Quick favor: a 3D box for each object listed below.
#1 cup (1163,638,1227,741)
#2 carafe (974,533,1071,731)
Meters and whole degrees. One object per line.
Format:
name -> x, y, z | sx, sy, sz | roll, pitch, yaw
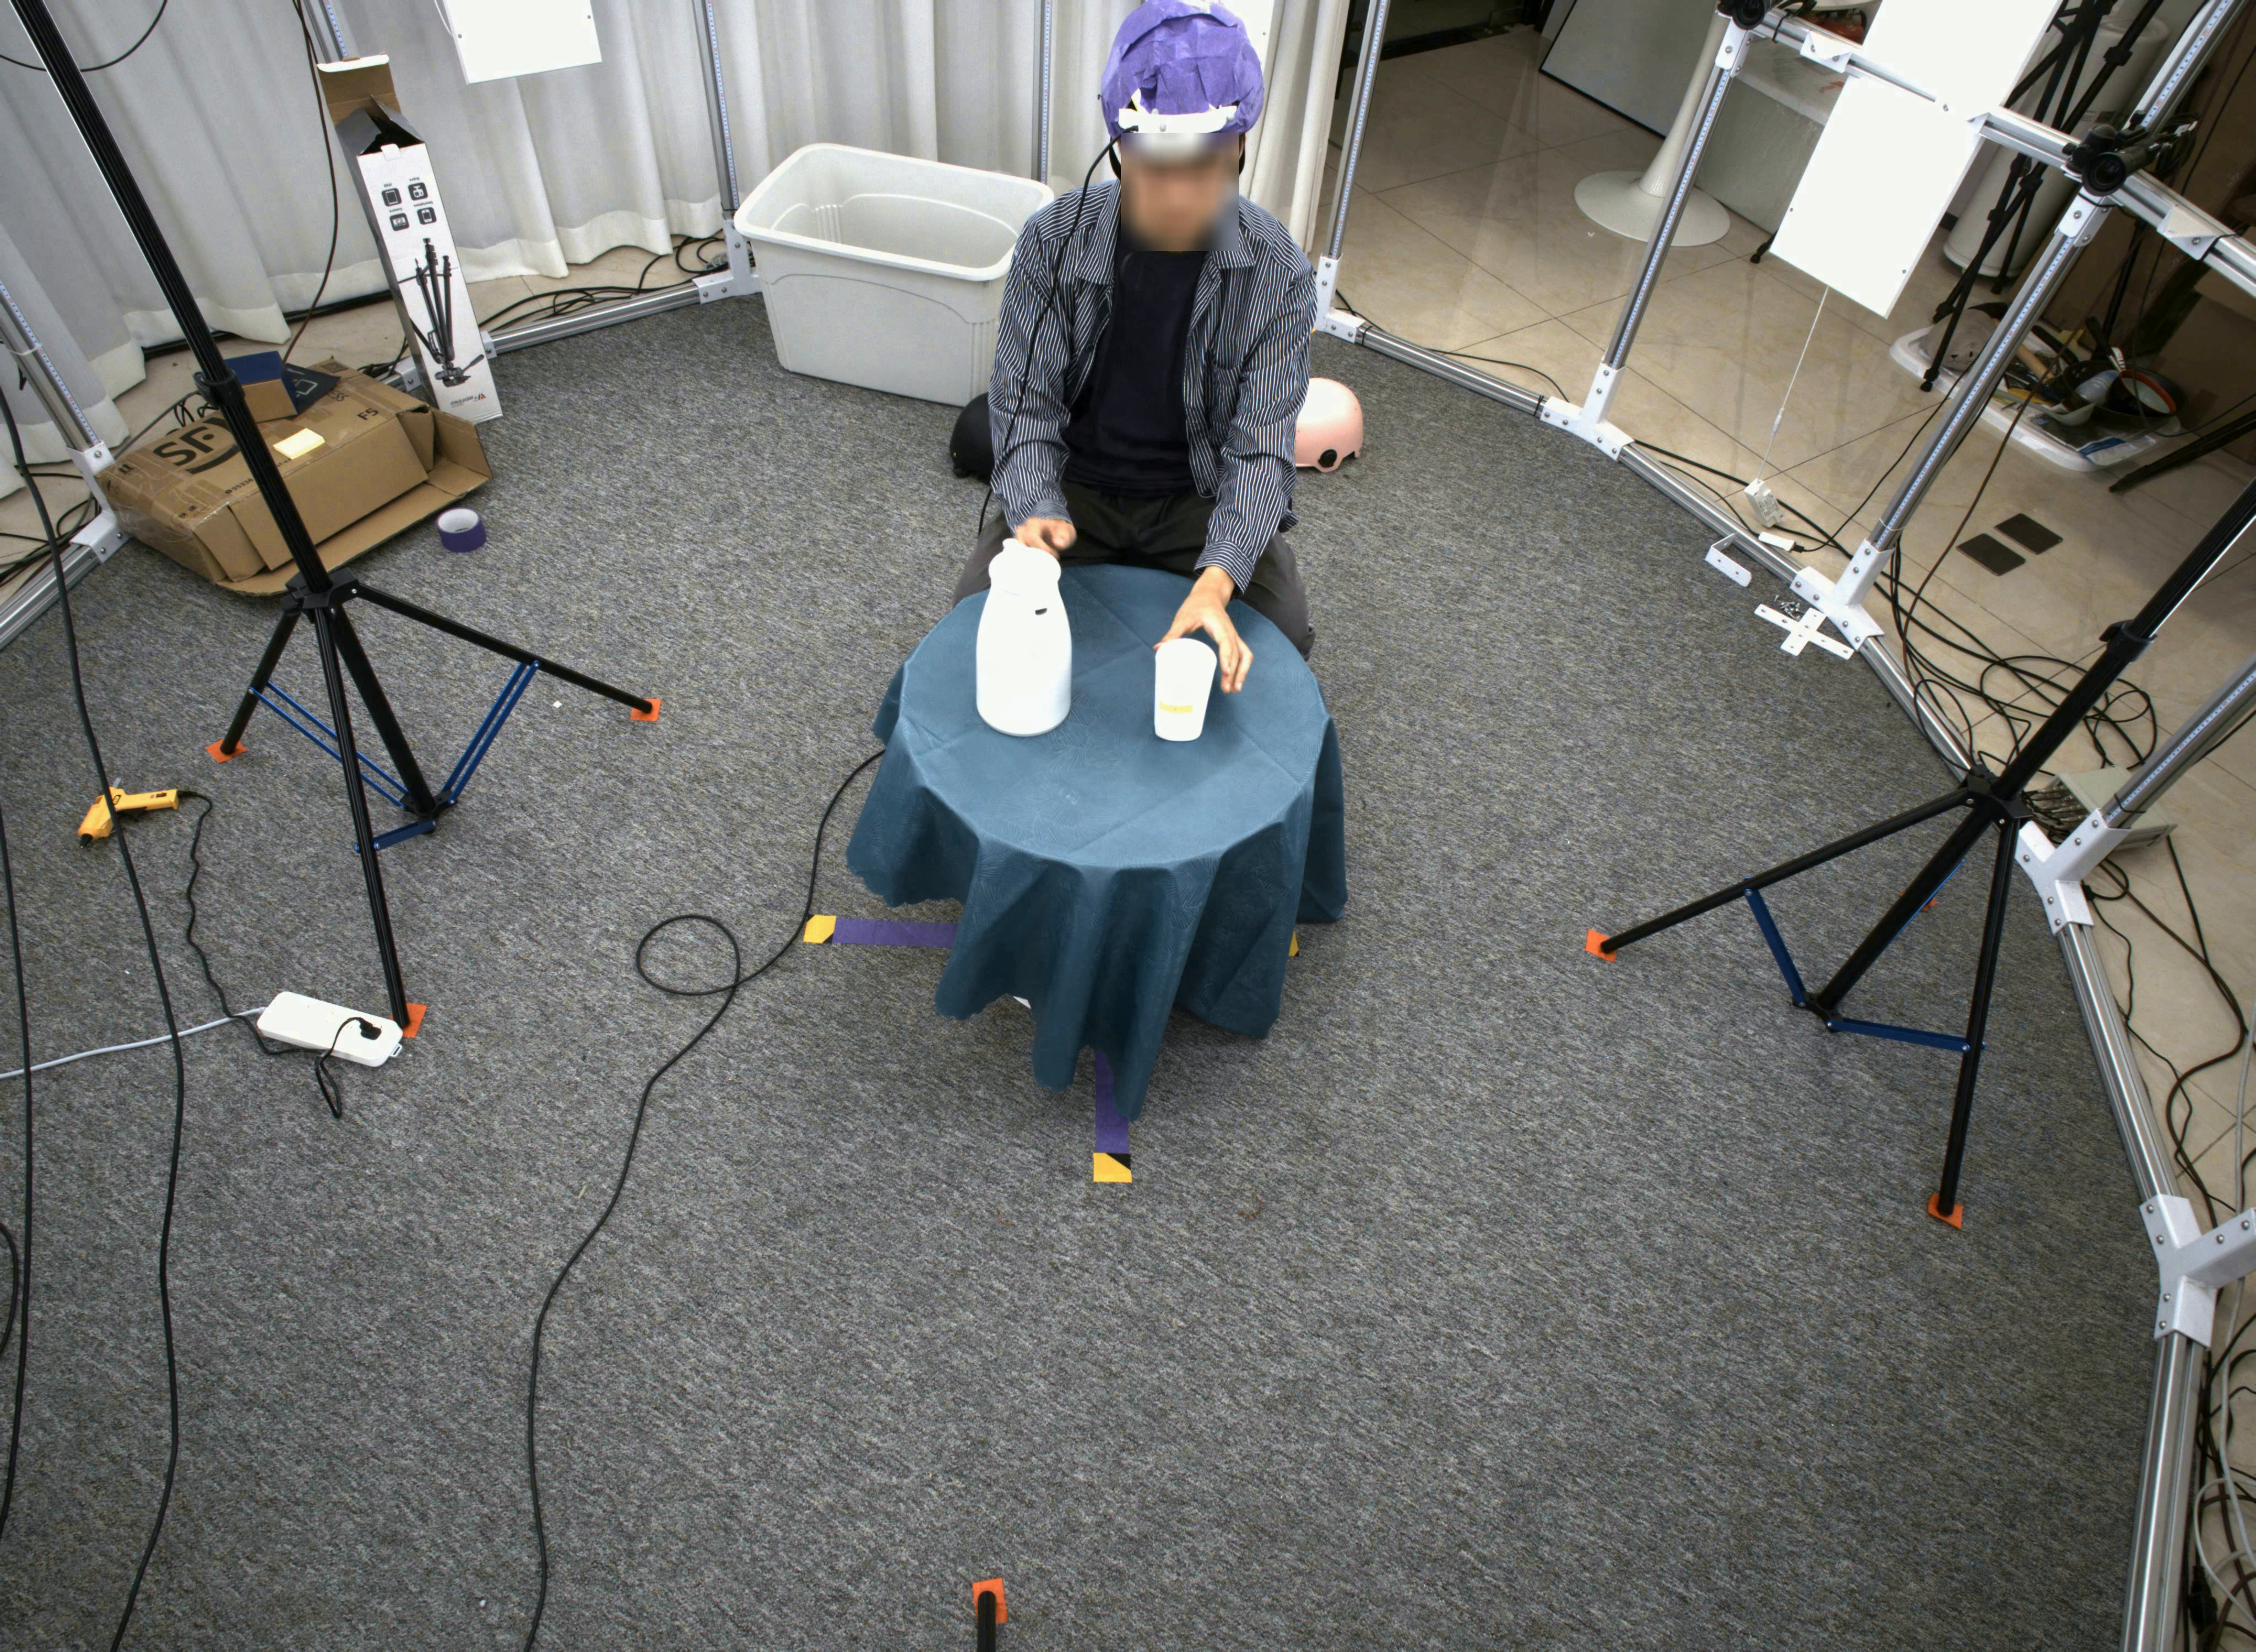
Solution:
cup -> 0.087, -0.182, 1.740 | 0.081, 0.122, 0.084 | 2, 49, -3
carafe -> -0.149, -0.269, 1.714 | 0.133, 0.243, 0.171 | -22, 56, -20
